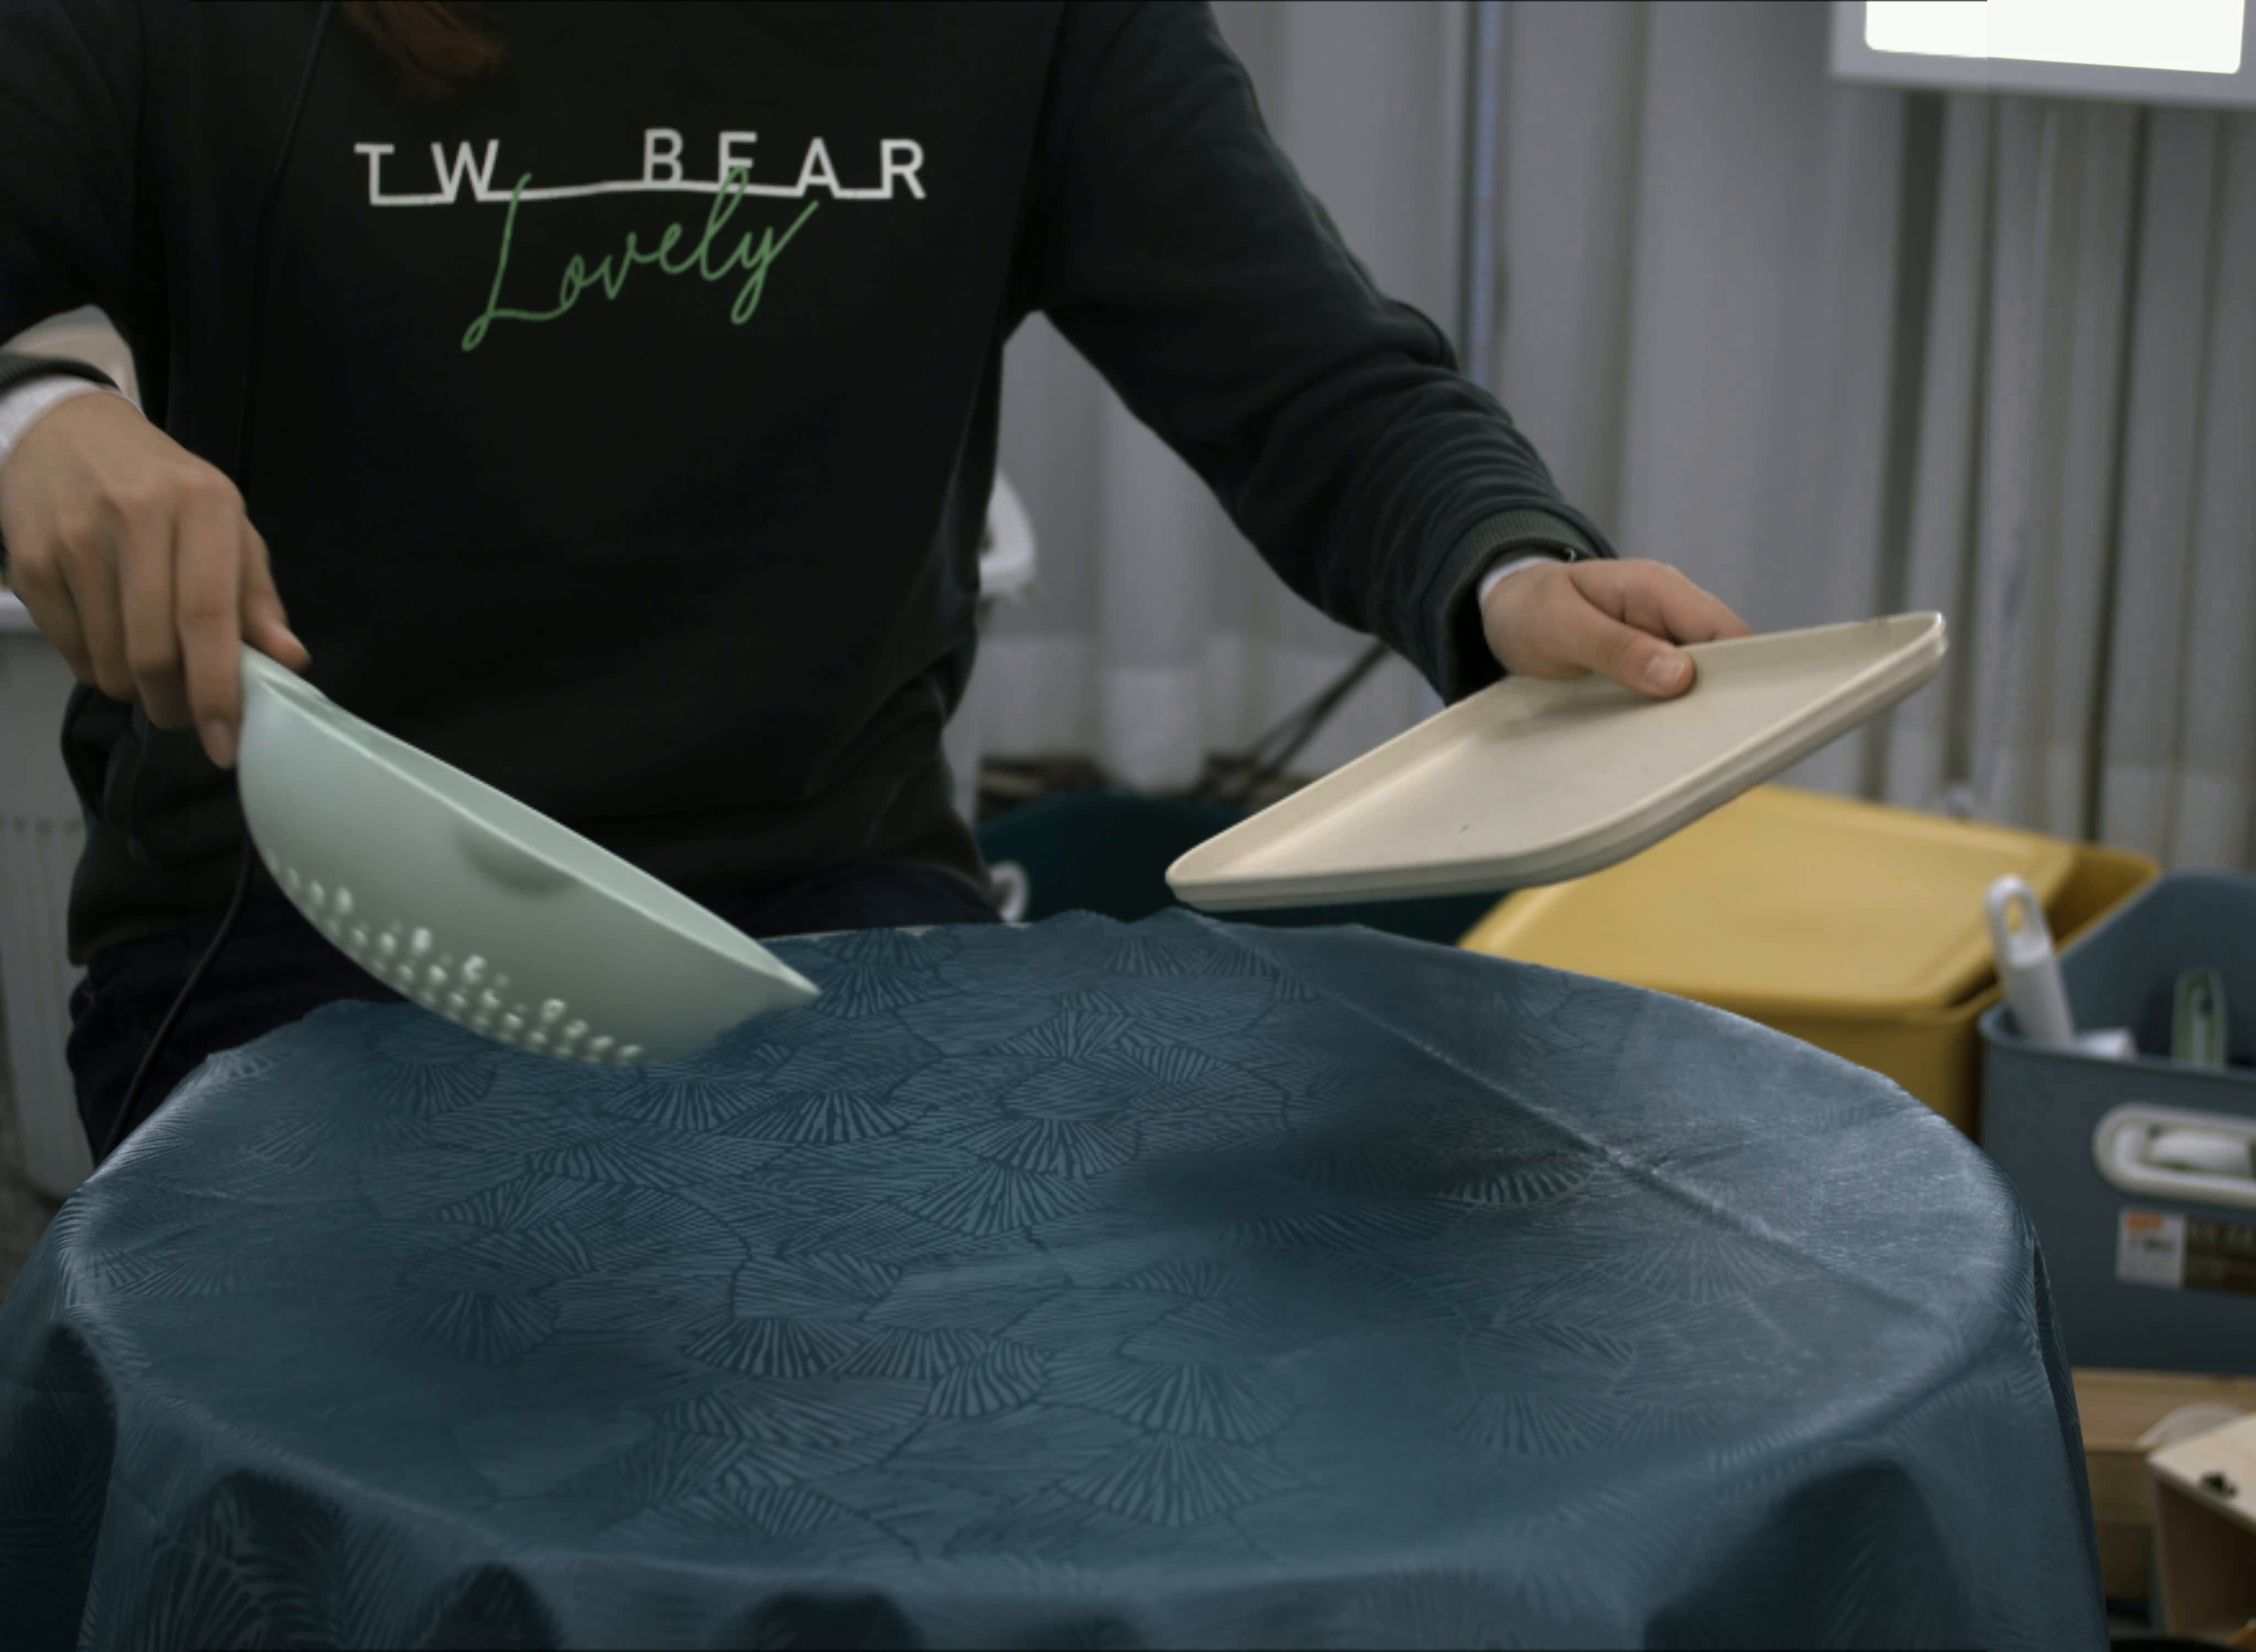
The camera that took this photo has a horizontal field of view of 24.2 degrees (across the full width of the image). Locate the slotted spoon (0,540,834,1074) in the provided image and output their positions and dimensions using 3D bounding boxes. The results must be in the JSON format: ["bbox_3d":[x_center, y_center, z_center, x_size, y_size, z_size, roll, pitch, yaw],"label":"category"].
[{"bbox_3d":[-0.232,-0.022,1.505,0.354,0.075,0.171,39,5,41],"label":"slotted spoon"}]

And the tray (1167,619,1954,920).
[{"bbox_3d":[0.129,-0.014,1.598,0.171,0.017,0.237,-28,11,-29],"label":"tray"}]
